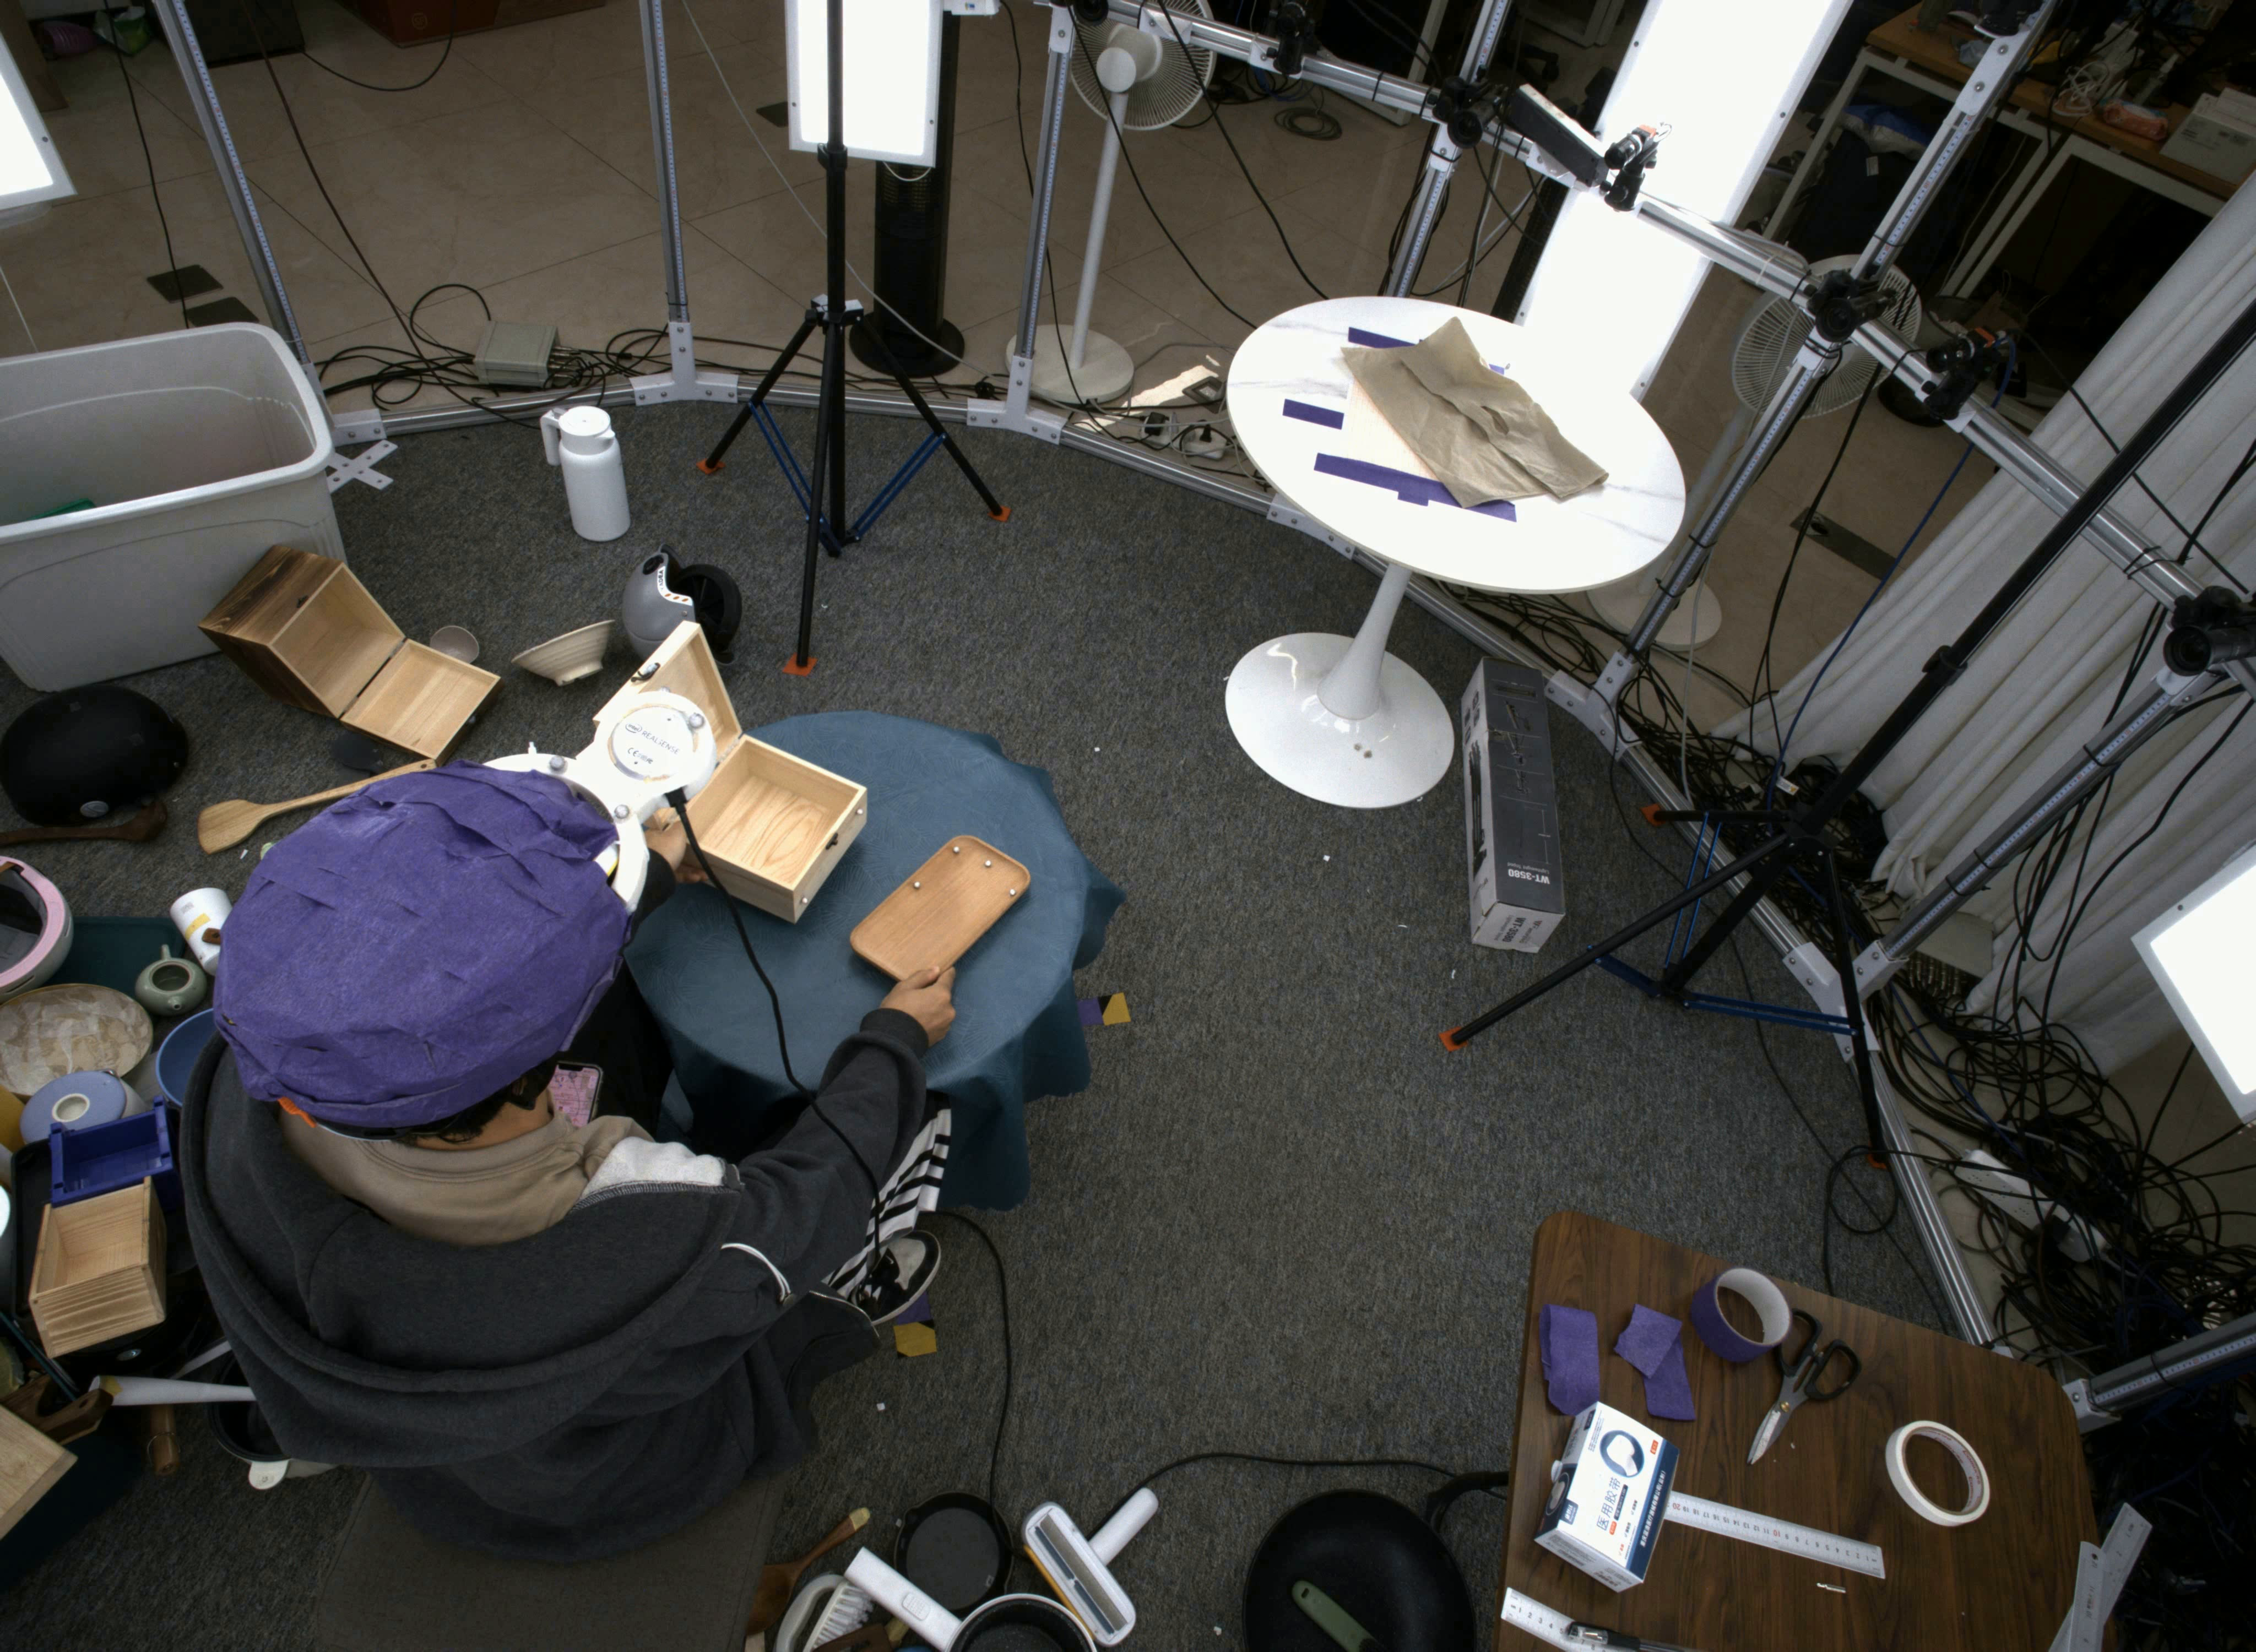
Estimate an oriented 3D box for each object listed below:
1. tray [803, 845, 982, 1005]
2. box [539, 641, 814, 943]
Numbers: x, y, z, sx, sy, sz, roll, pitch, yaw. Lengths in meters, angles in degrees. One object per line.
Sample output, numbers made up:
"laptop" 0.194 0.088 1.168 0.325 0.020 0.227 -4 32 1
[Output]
"tray" -0.294 0.120 1.646 0.127 0.023 0.250 26 47 14
"box" -0.536 -0.040 1.533 0.262 0.258 0.180 19 55 4
